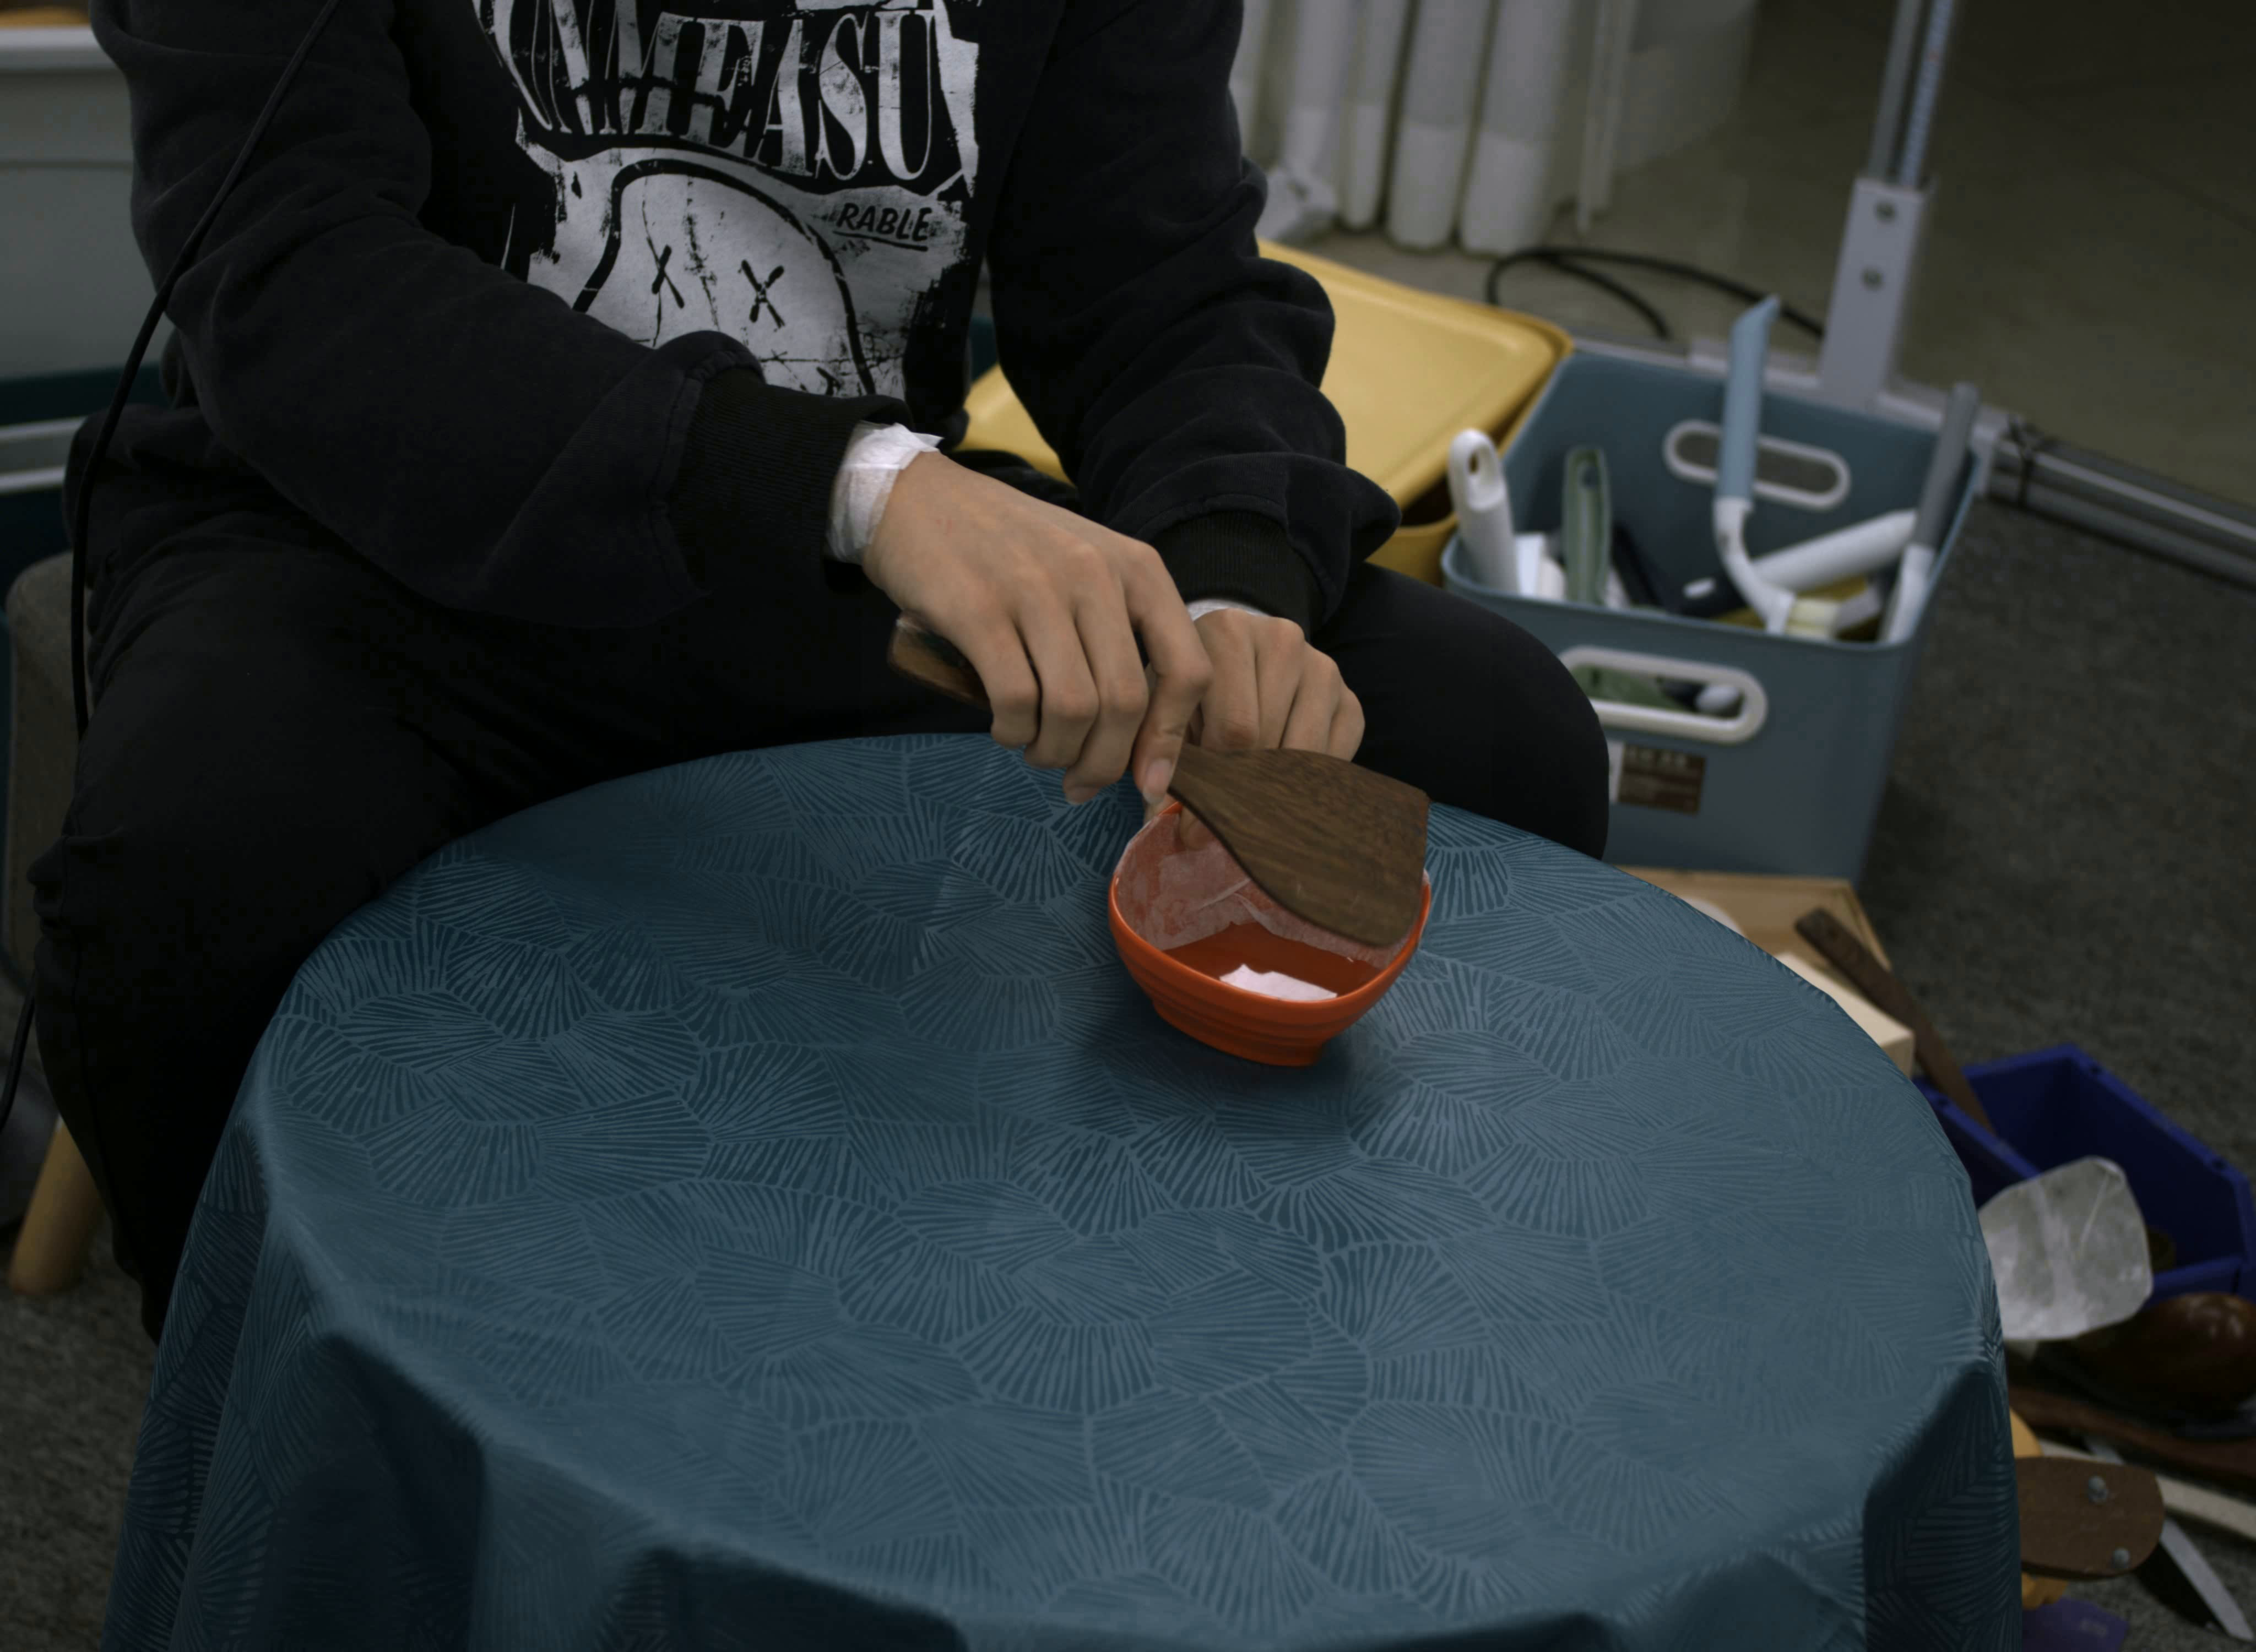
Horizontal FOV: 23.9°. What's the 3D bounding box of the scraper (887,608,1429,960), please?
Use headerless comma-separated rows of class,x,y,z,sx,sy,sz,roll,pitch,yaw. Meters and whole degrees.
scraper,0.010,-0.022,1.862,0.210,0.011,0.076,26,54,-13

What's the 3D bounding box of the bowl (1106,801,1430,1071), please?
bowl,0.048,0.043,1.901,0.118,0.051,0.120,3,41,-3
